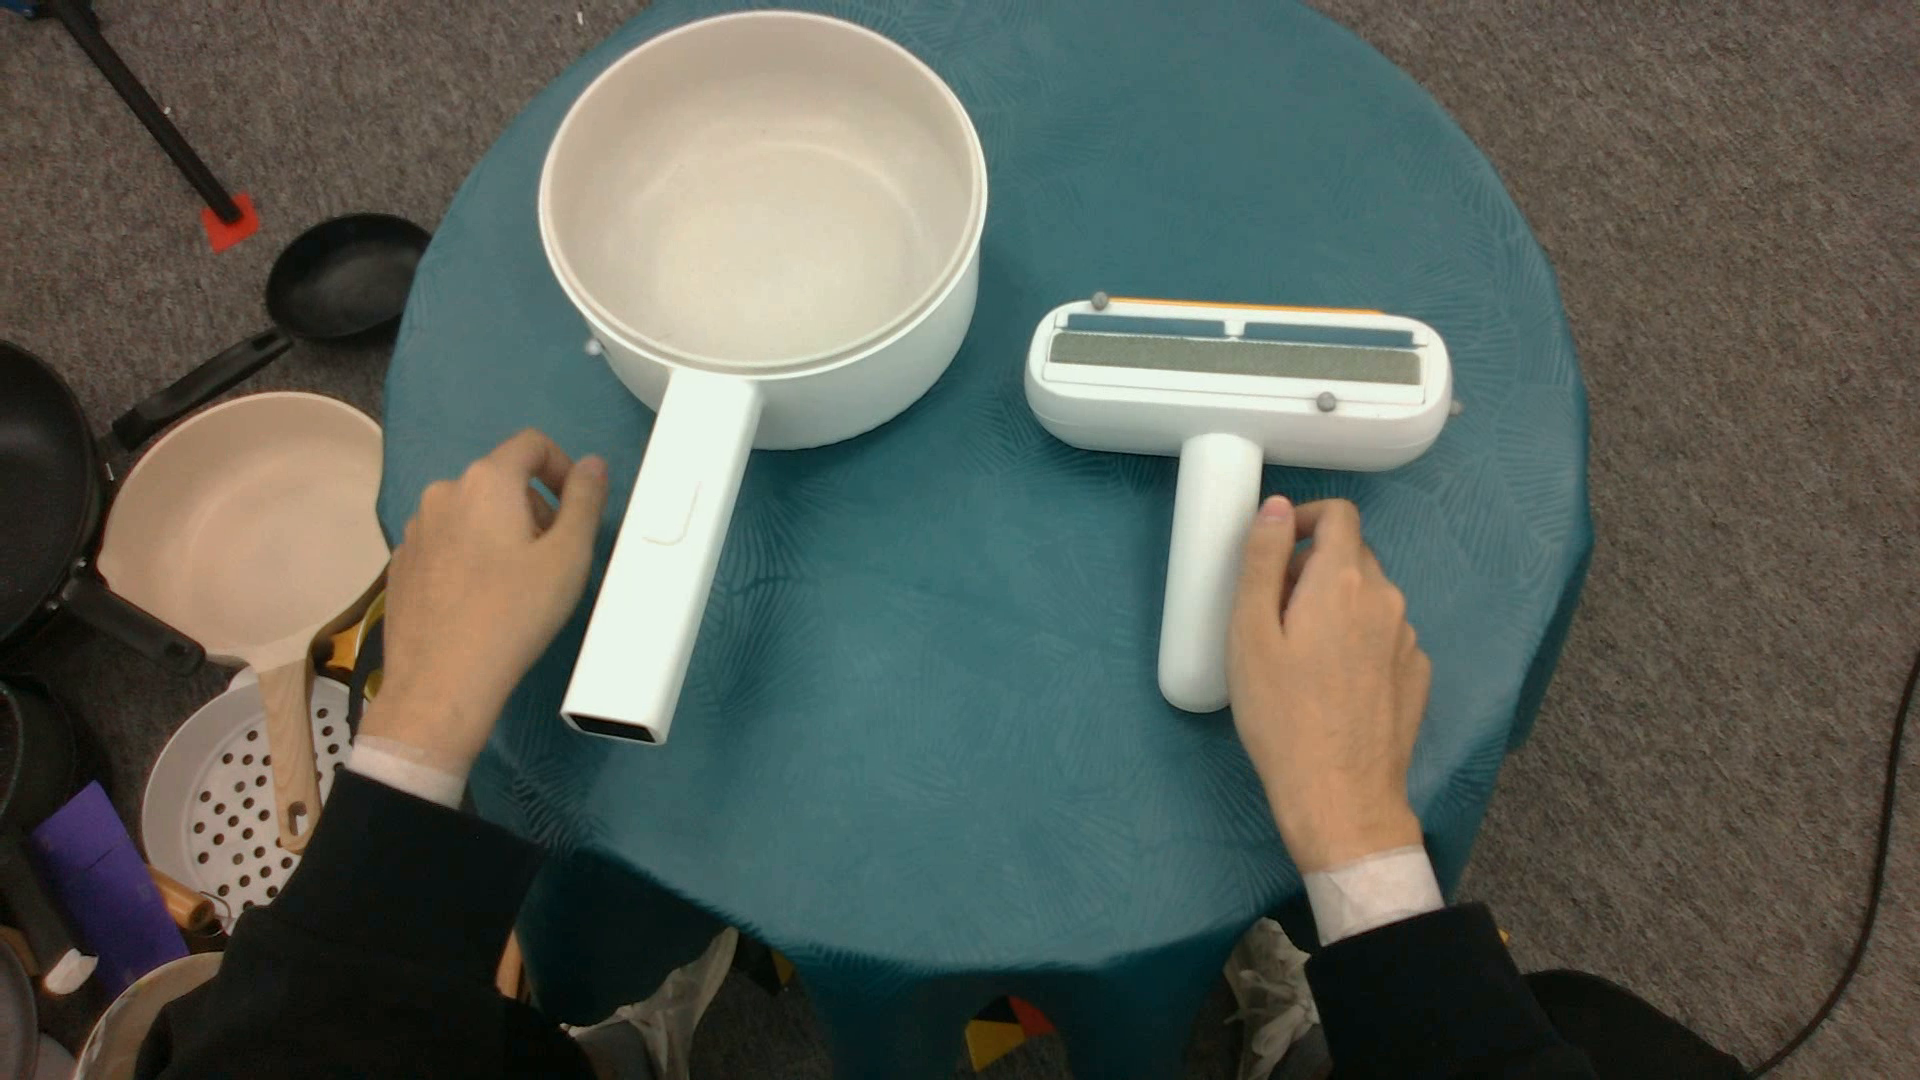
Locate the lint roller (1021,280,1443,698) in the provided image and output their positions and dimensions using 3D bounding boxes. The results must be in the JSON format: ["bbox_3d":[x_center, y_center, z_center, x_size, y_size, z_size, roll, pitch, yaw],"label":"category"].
[{"bbox_3d":[0.112,-0.024,0.630,0.193,0.074,0.193,11,68,10],"label":"lint roller"}]

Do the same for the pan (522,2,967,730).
[{"bbox_3d":[-0.111,-0.079,0.632,0.201,0.101,0.356,10,67,3],"label":"pan"}]
